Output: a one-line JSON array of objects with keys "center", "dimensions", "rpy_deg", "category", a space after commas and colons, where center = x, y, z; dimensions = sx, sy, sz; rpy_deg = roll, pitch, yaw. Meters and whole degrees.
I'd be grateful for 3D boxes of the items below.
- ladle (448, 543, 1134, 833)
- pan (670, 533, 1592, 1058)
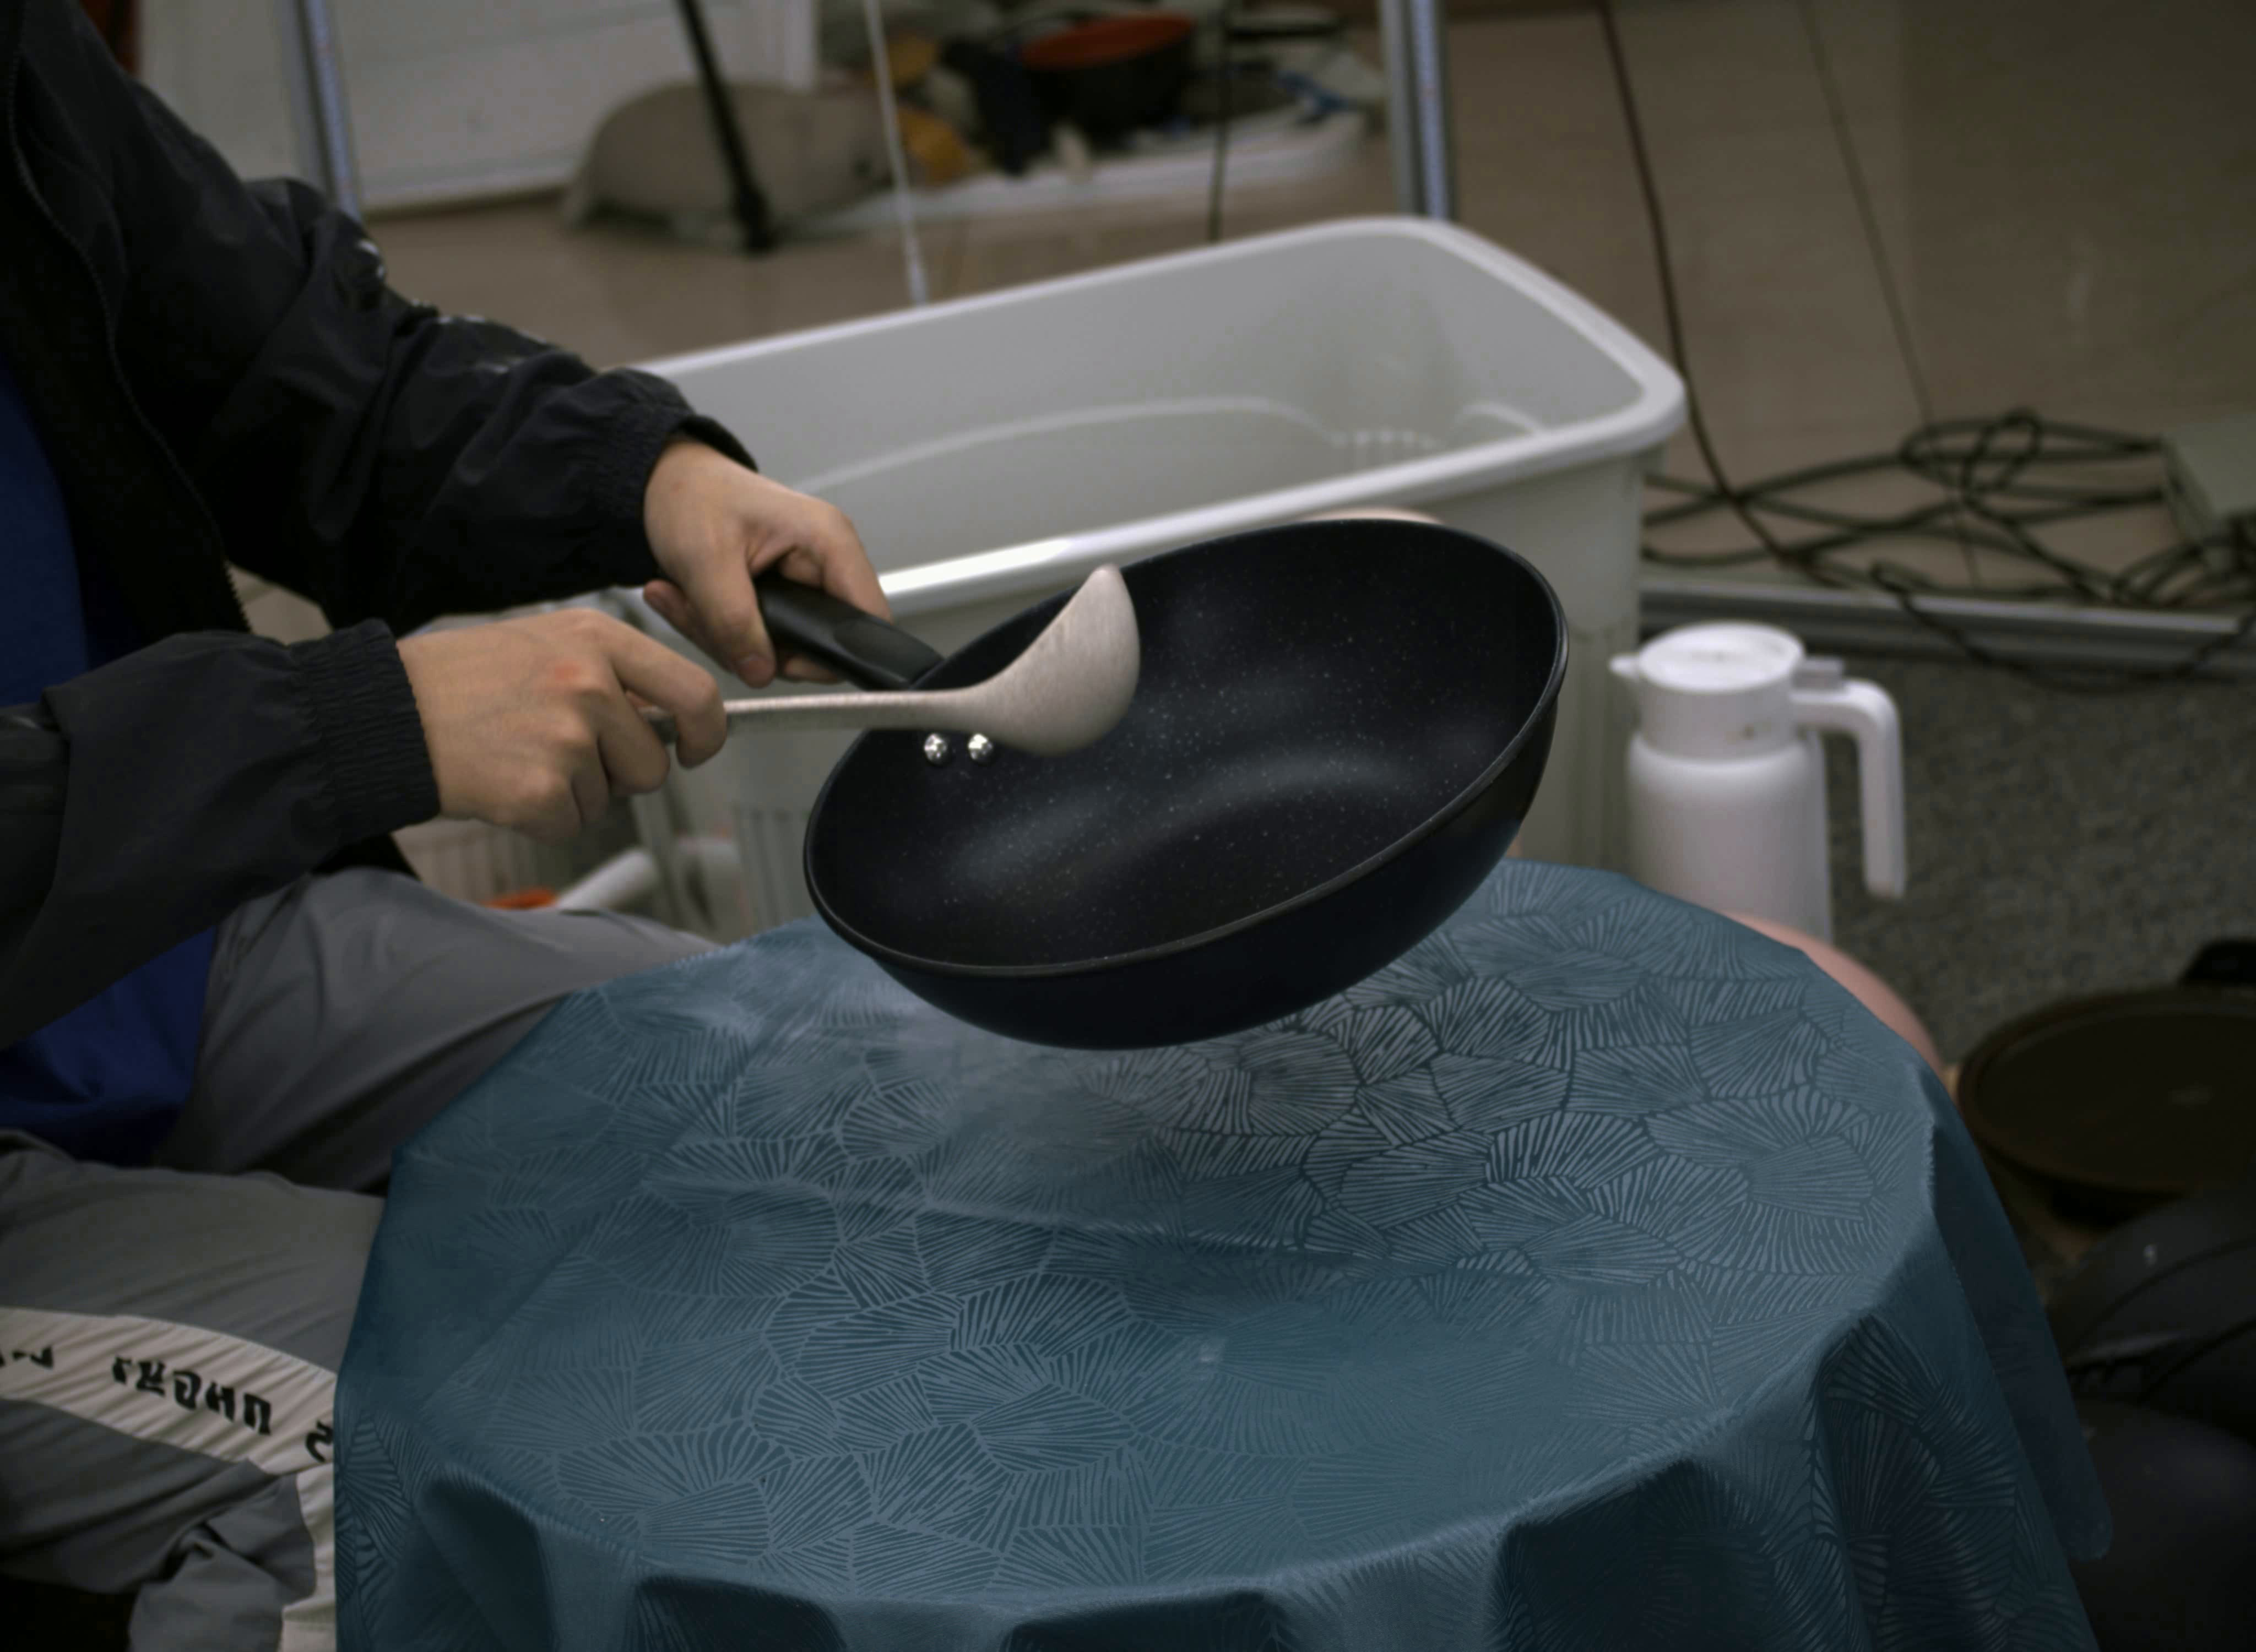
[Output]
[{"center": [-0.132, -0.051, 2.195], "dimensions": [0.274, 0.091, 0.068], "rpy_deg": [-10, 59, -6], "category": "ladle"}, {"center": [-0.019, -0.024, 2.238], "dimensions": [0.307, 0.113, 0.473], "rpy_deg": [-37, 33, -29], "category": "pan"}]
